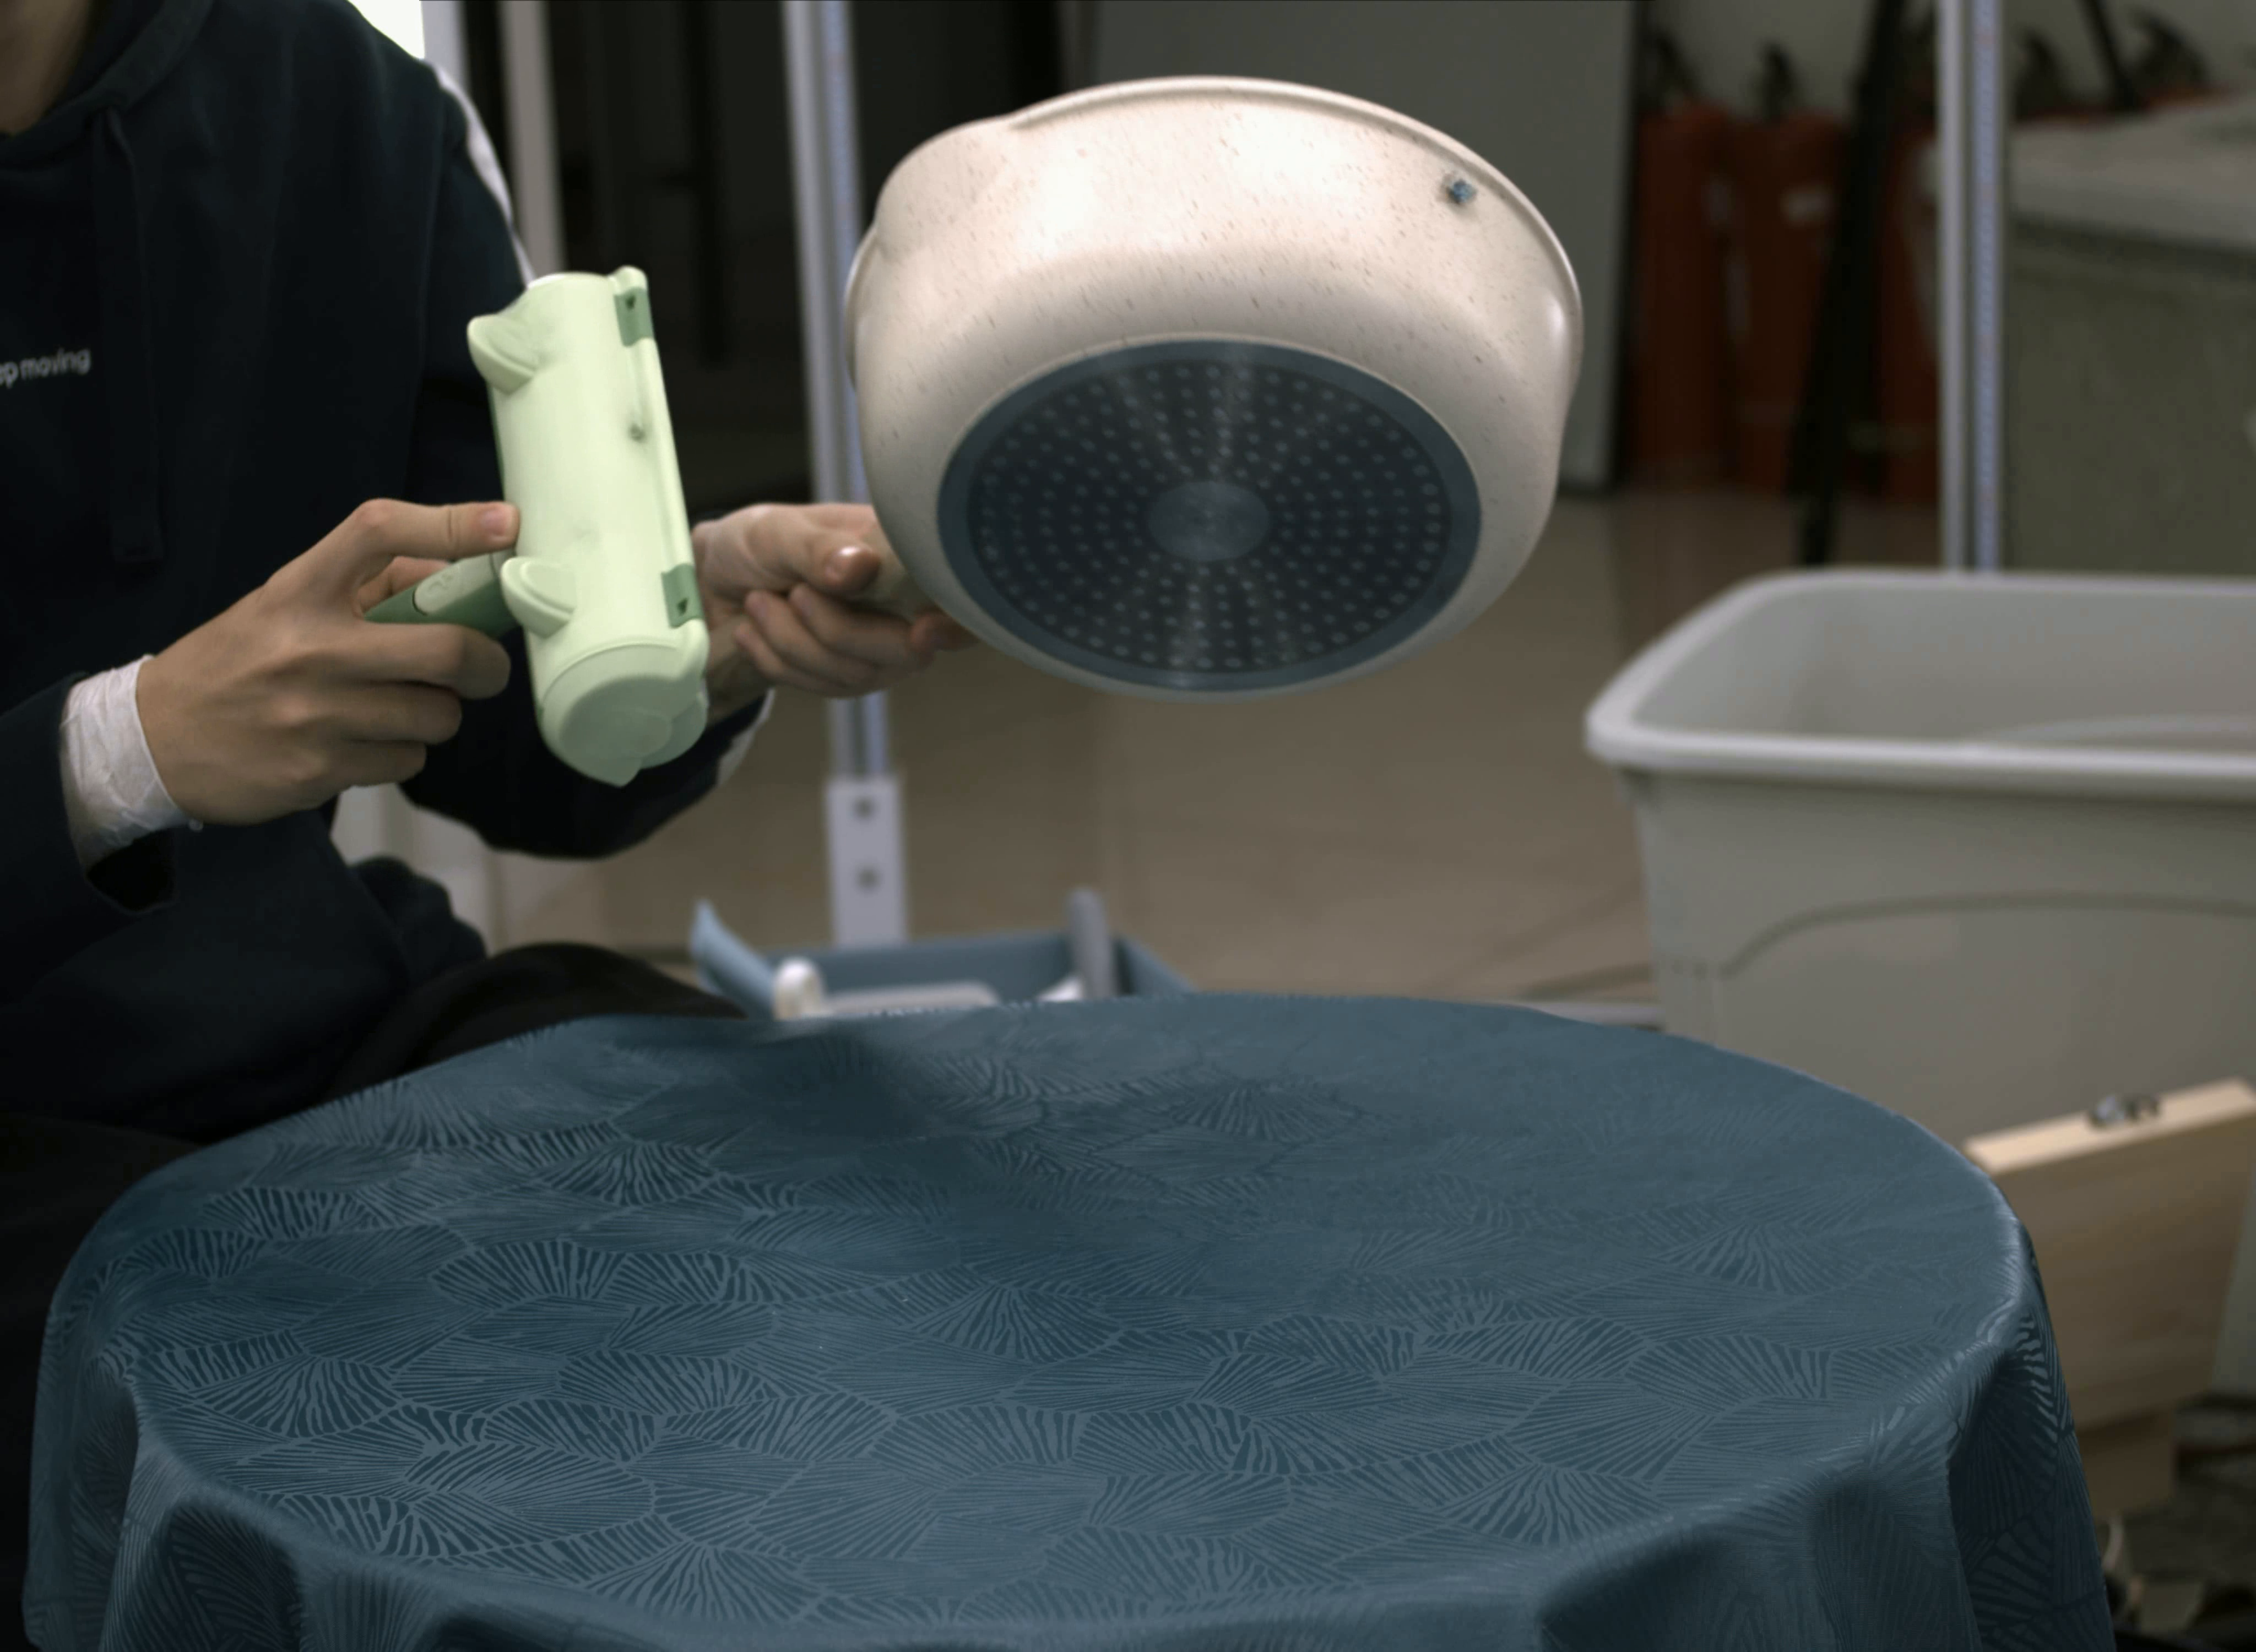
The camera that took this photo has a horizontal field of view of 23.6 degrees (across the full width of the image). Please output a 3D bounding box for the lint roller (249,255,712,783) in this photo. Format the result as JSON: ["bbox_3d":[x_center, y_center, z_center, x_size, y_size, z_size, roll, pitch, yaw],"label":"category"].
[{"bbox_3d":[-0.226,-0.083,1.773,0.183,0.081,0.201,-26,47,13],"label":"lint roller"}]

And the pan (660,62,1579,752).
[{"bbox_3d":[-0.032,-0.099,1.862,0.258,0.103,0.438,28,-45,-31],"label":"pan"}]
